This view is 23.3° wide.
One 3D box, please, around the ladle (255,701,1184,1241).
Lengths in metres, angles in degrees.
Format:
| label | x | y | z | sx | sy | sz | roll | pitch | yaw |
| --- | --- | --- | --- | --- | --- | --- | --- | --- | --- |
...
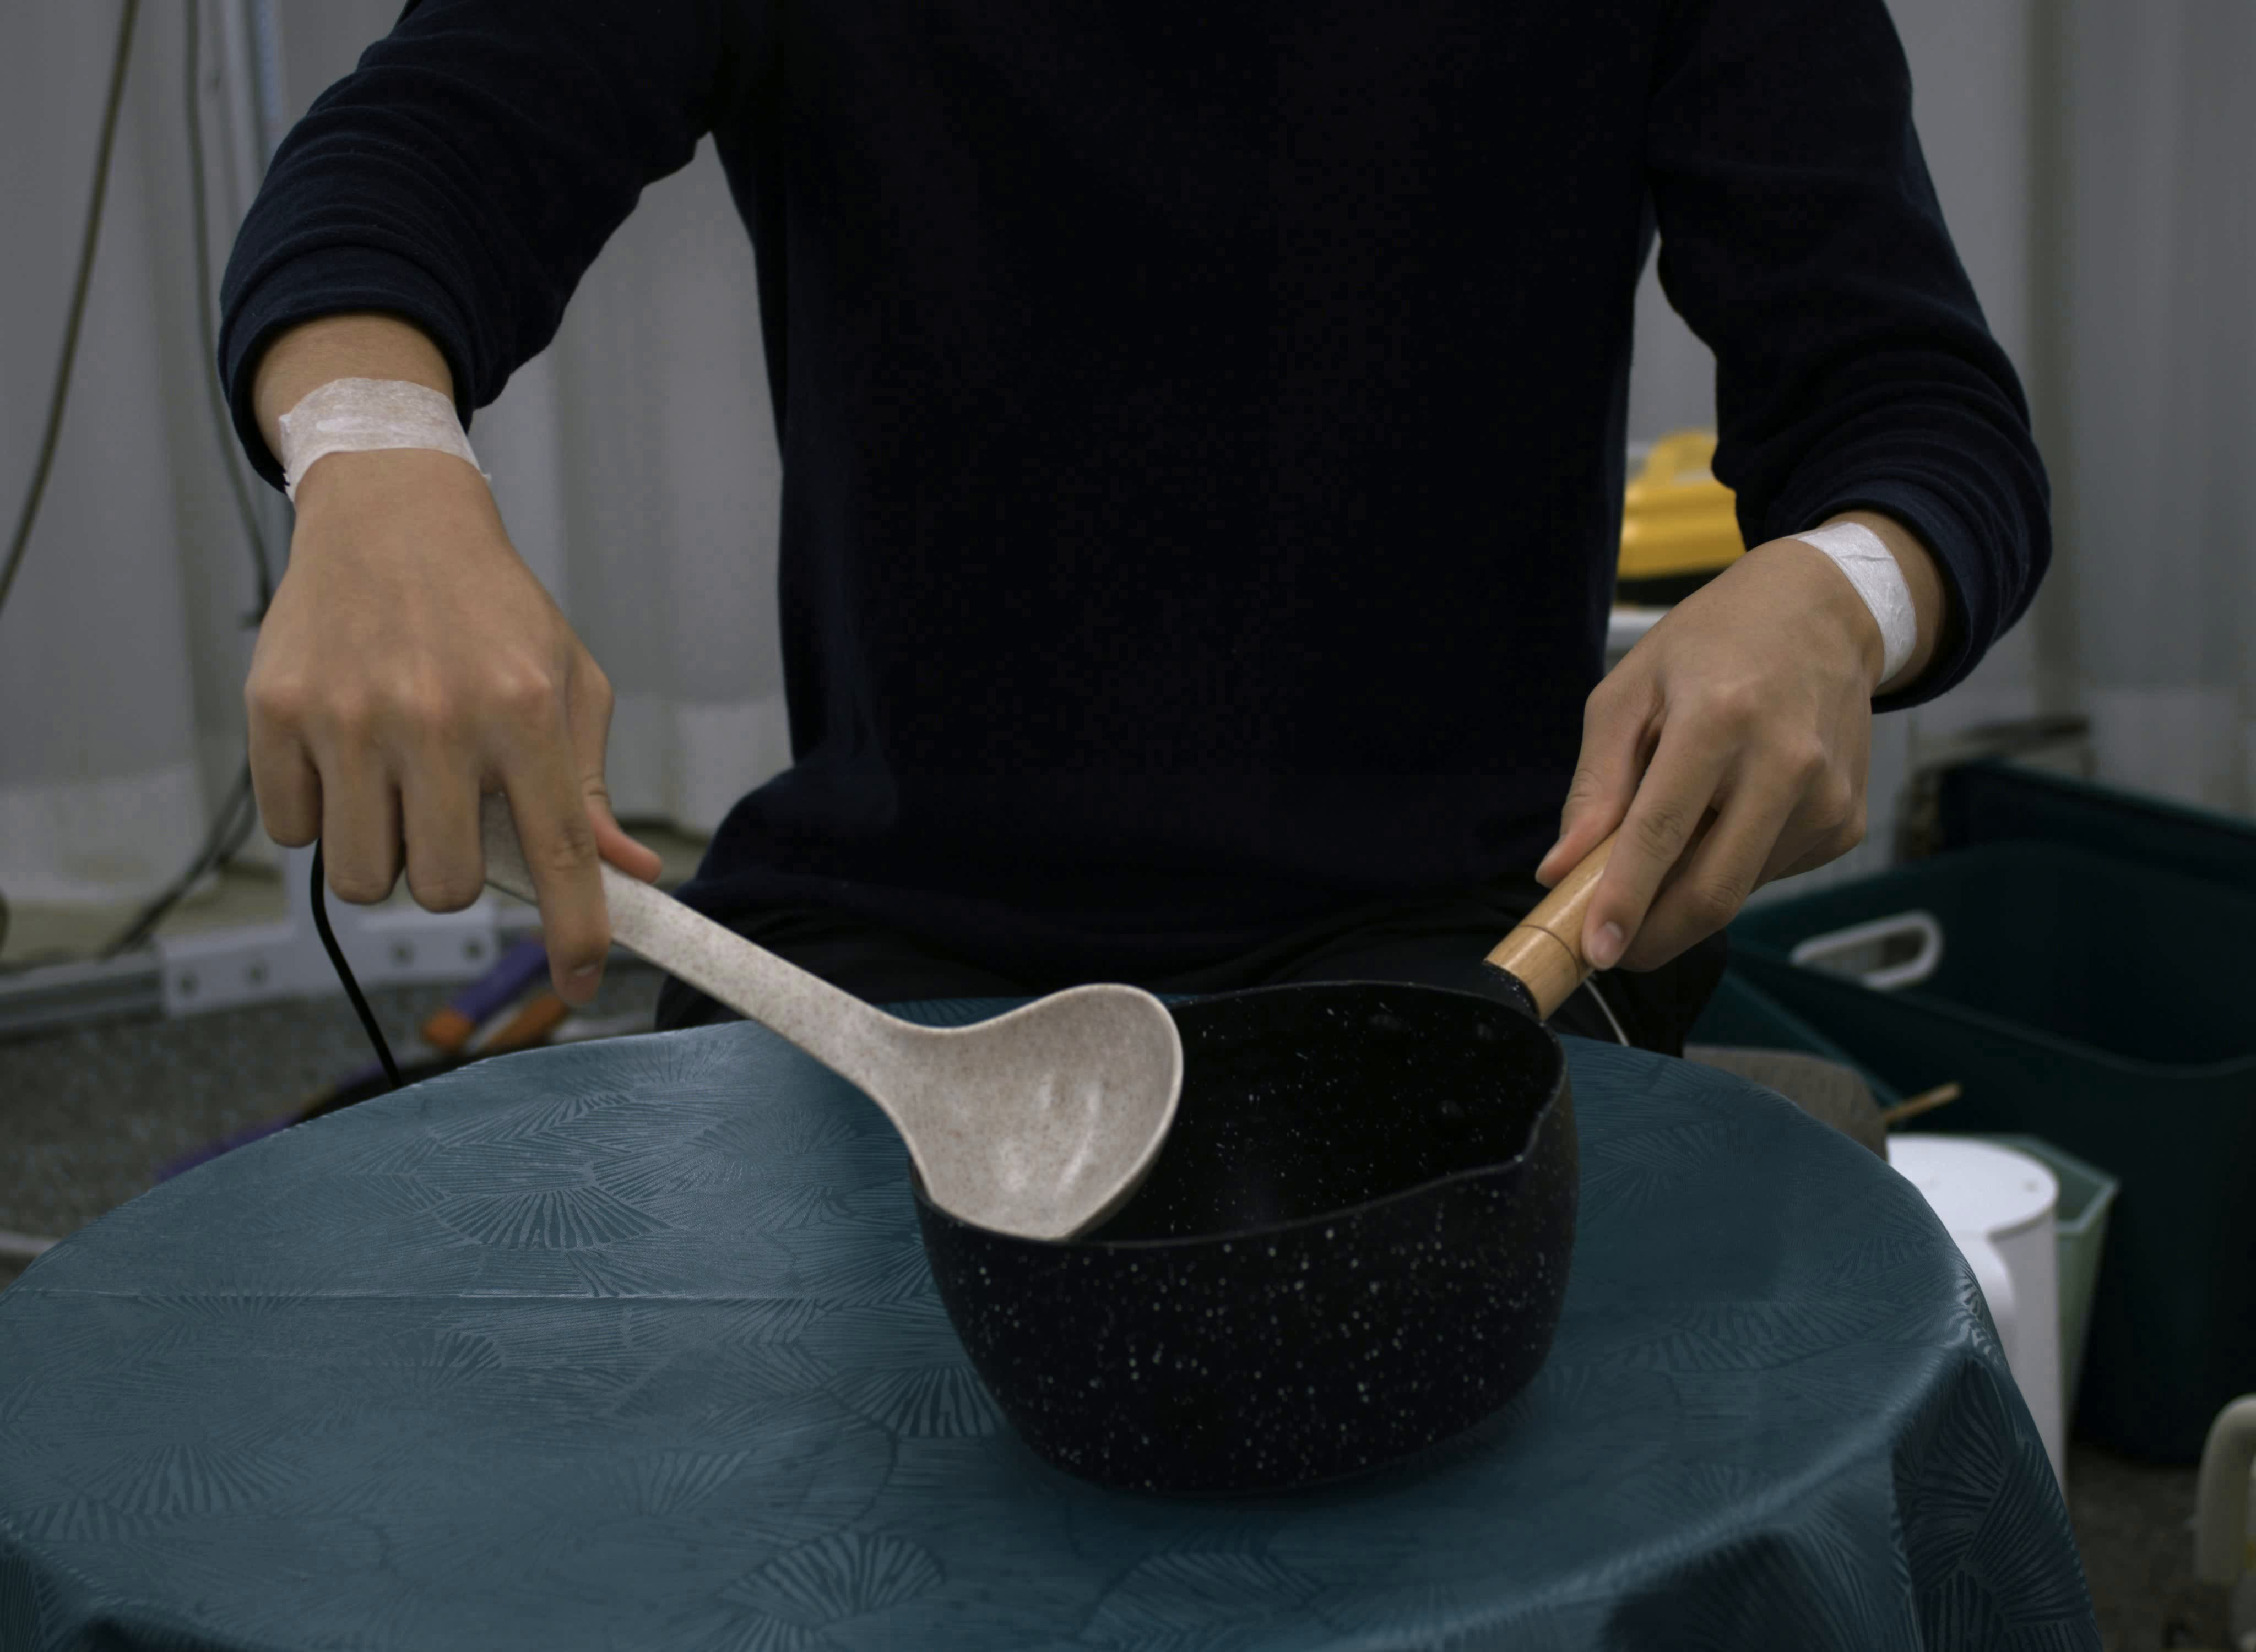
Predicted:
| label | x | y | z | sx | sy | sz | roll | pitch | yaw |
| --- | --- | --- | --- | --- | --- | --- | --- | --- | --- |
| ladle | -0.114 | 0.028 | 1.492 | 0.274 | 0.090 | 0.069 | 29 | -19 | -3 |

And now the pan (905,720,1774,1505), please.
| label | x | y | z | sx | sy | sz | roll | pitch | yaw |
| --- | --- | --- | --- | --- | --- | --- | --- | --- | --- |
| pan | 0.085 | 0.078 | 1.563 | 0.208 | 0.107 | 0.343 | 5 | 24 | 41 |
